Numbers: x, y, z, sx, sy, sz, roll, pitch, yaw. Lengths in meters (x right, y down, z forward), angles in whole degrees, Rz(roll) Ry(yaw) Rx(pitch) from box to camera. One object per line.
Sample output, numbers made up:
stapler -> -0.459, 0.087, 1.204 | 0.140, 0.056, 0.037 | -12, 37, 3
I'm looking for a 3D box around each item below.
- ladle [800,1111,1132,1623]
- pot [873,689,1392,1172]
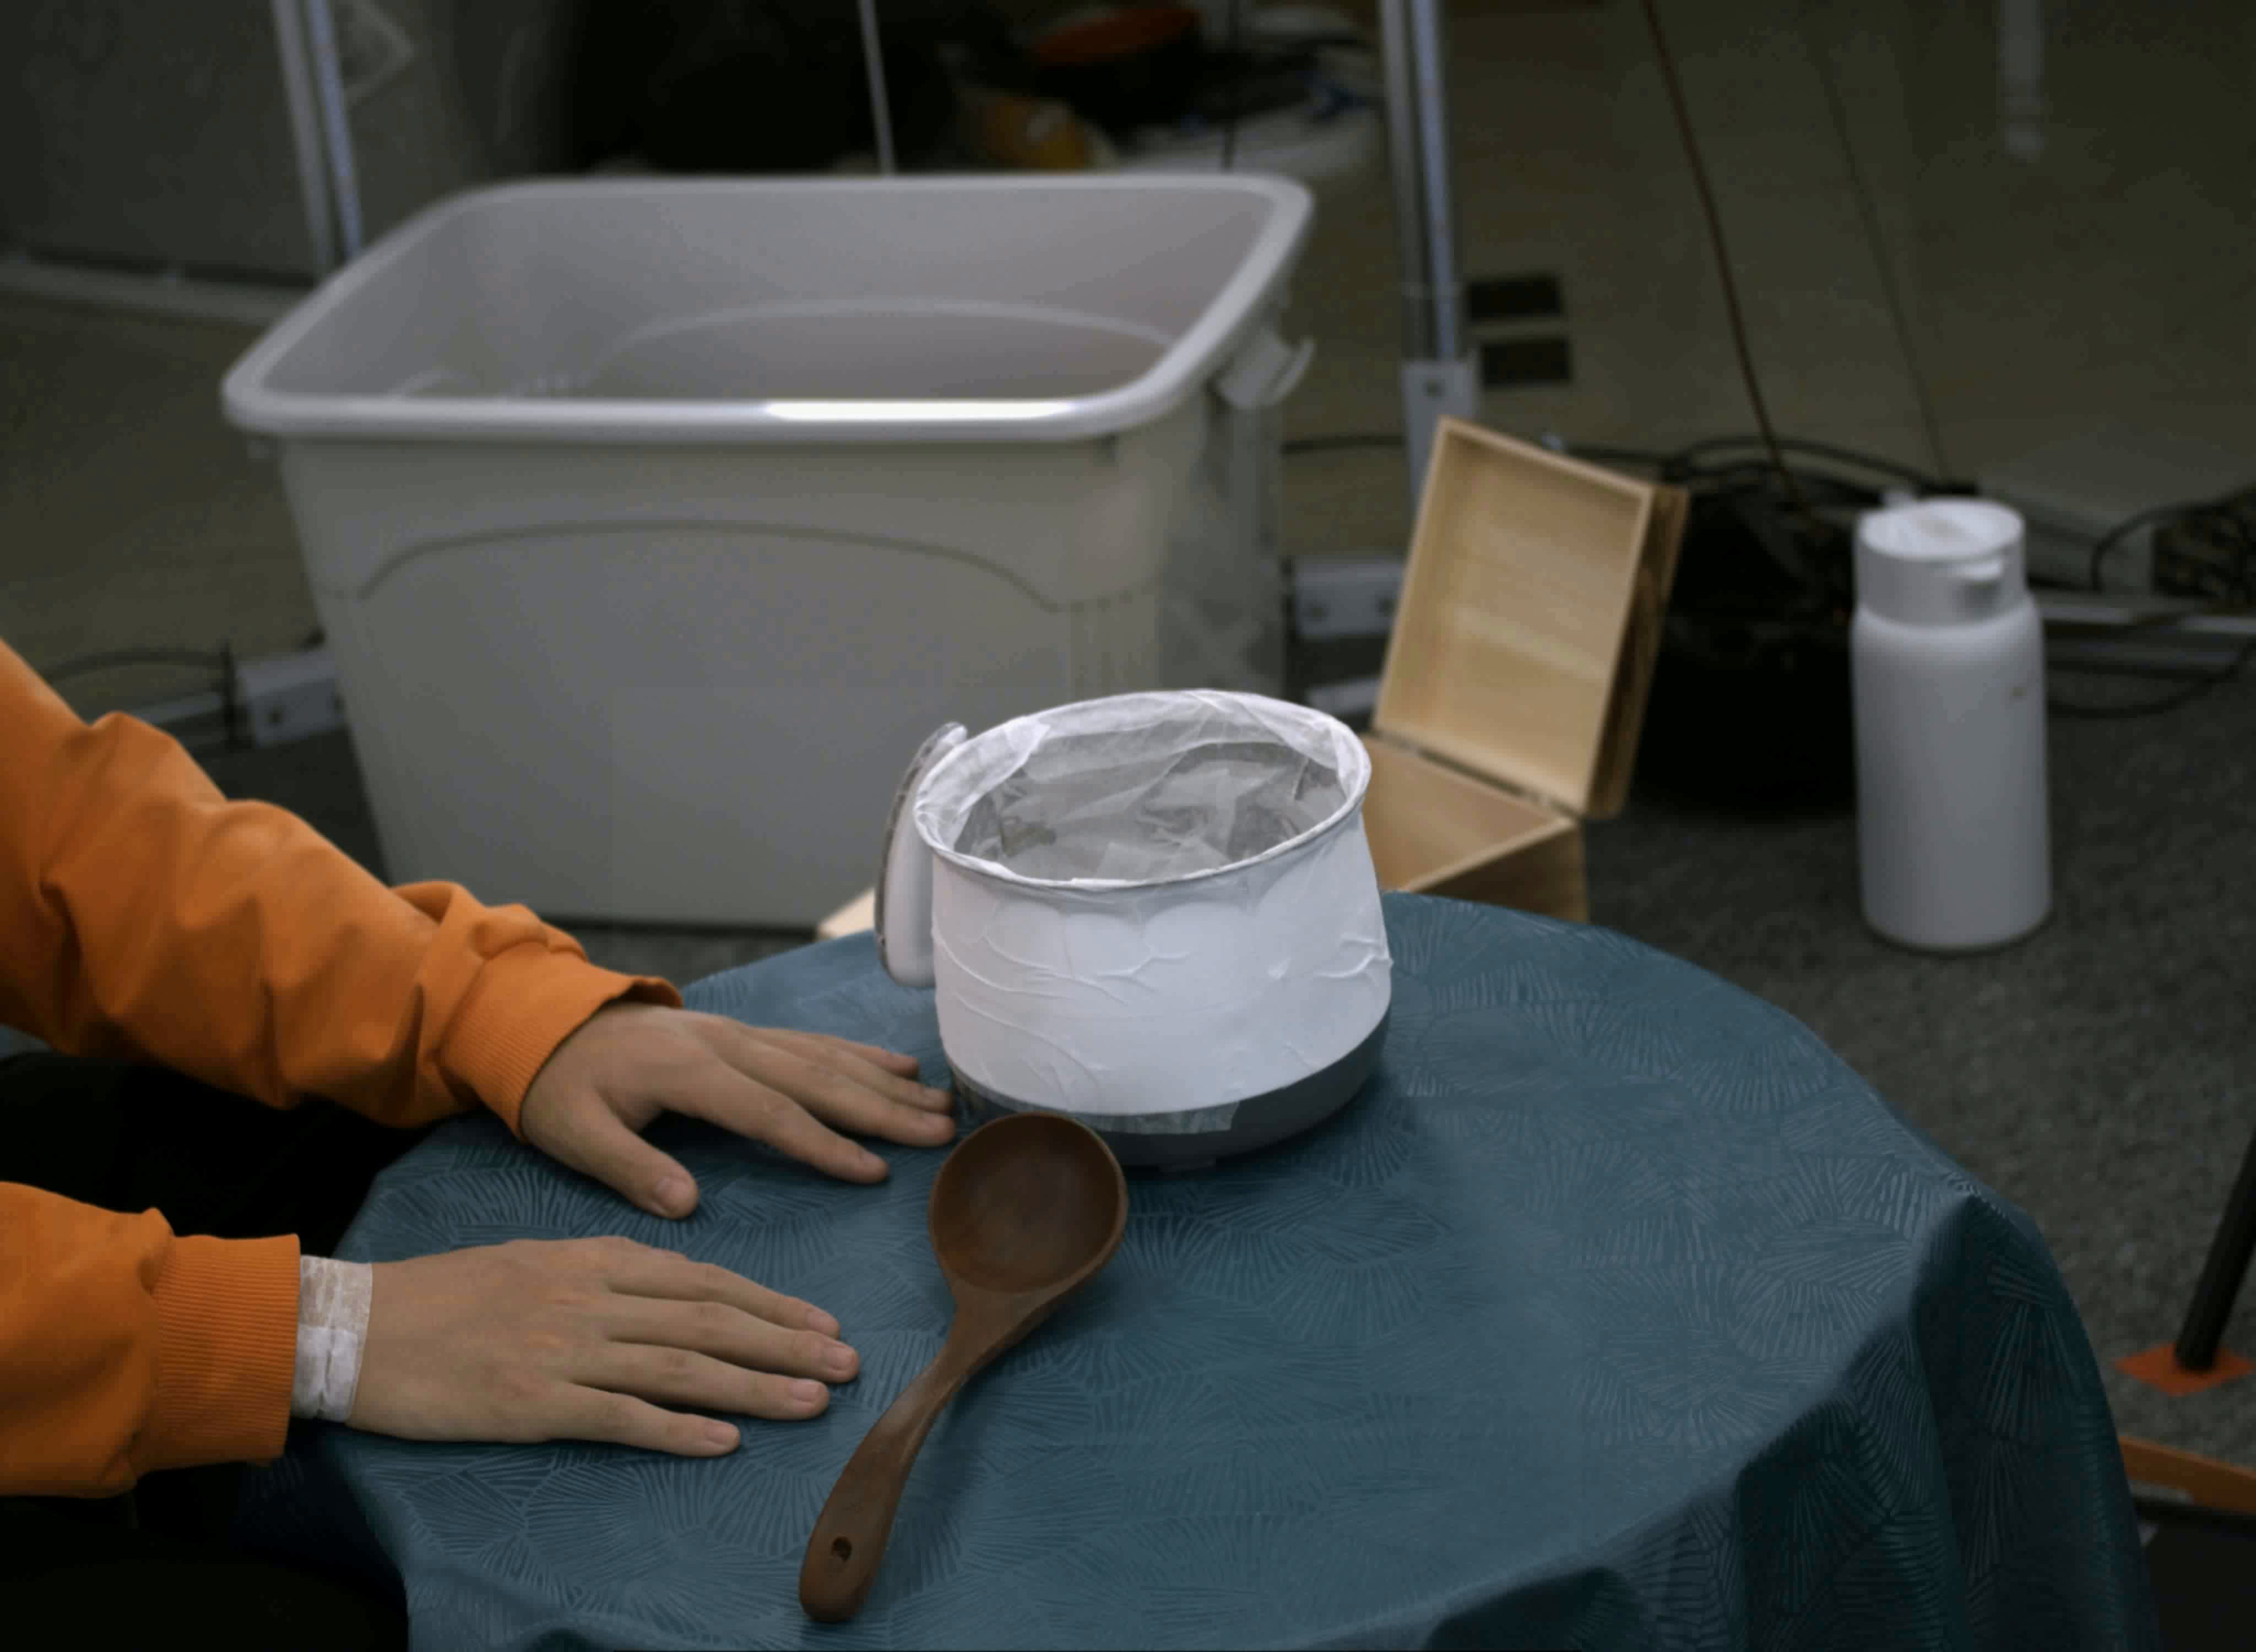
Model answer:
ladle -> -0.065, 0.184, 1.990 | 0.076, 0.066, 0.256 | 0, 26, 20
pot -> -0.010, 0.036, 2.205 | 0.232, 0.139, 0.177 | 15, 32, 37
